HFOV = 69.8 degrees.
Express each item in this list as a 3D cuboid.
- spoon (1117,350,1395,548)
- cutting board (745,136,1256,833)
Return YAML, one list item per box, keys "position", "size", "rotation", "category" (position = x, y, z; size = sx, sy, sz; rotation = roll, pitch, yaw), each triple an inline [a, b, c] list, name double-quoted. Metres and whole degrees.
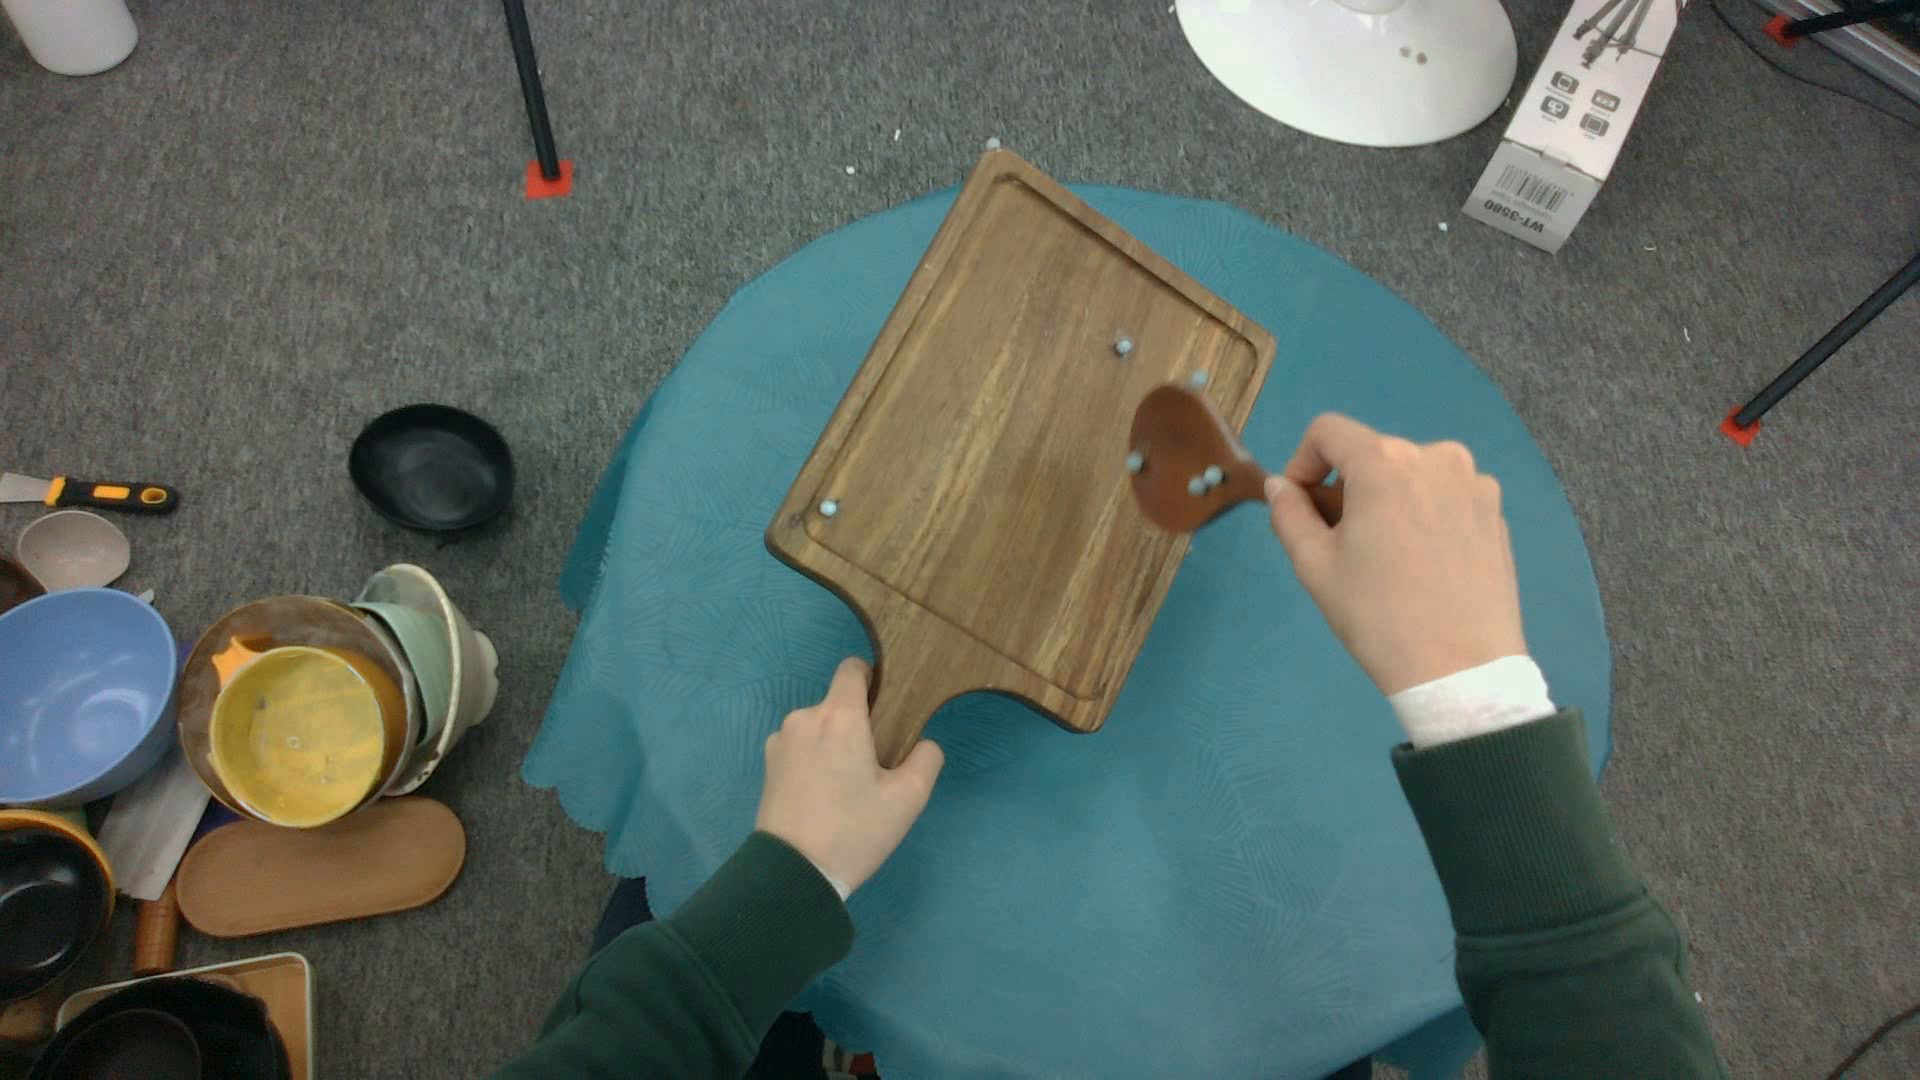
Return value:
- position: [0.116, -0.034, 0.579]
  size: [0.017, 0.216, 0.075]
  rotation: [6, 103, -19]
  category: "spoon"
- position: [0.010, -0.016, 0.695]
  size: [0.201, 0.023, 0.353]
  rotation: [32, 72, -15]
  category: "cutting board"
